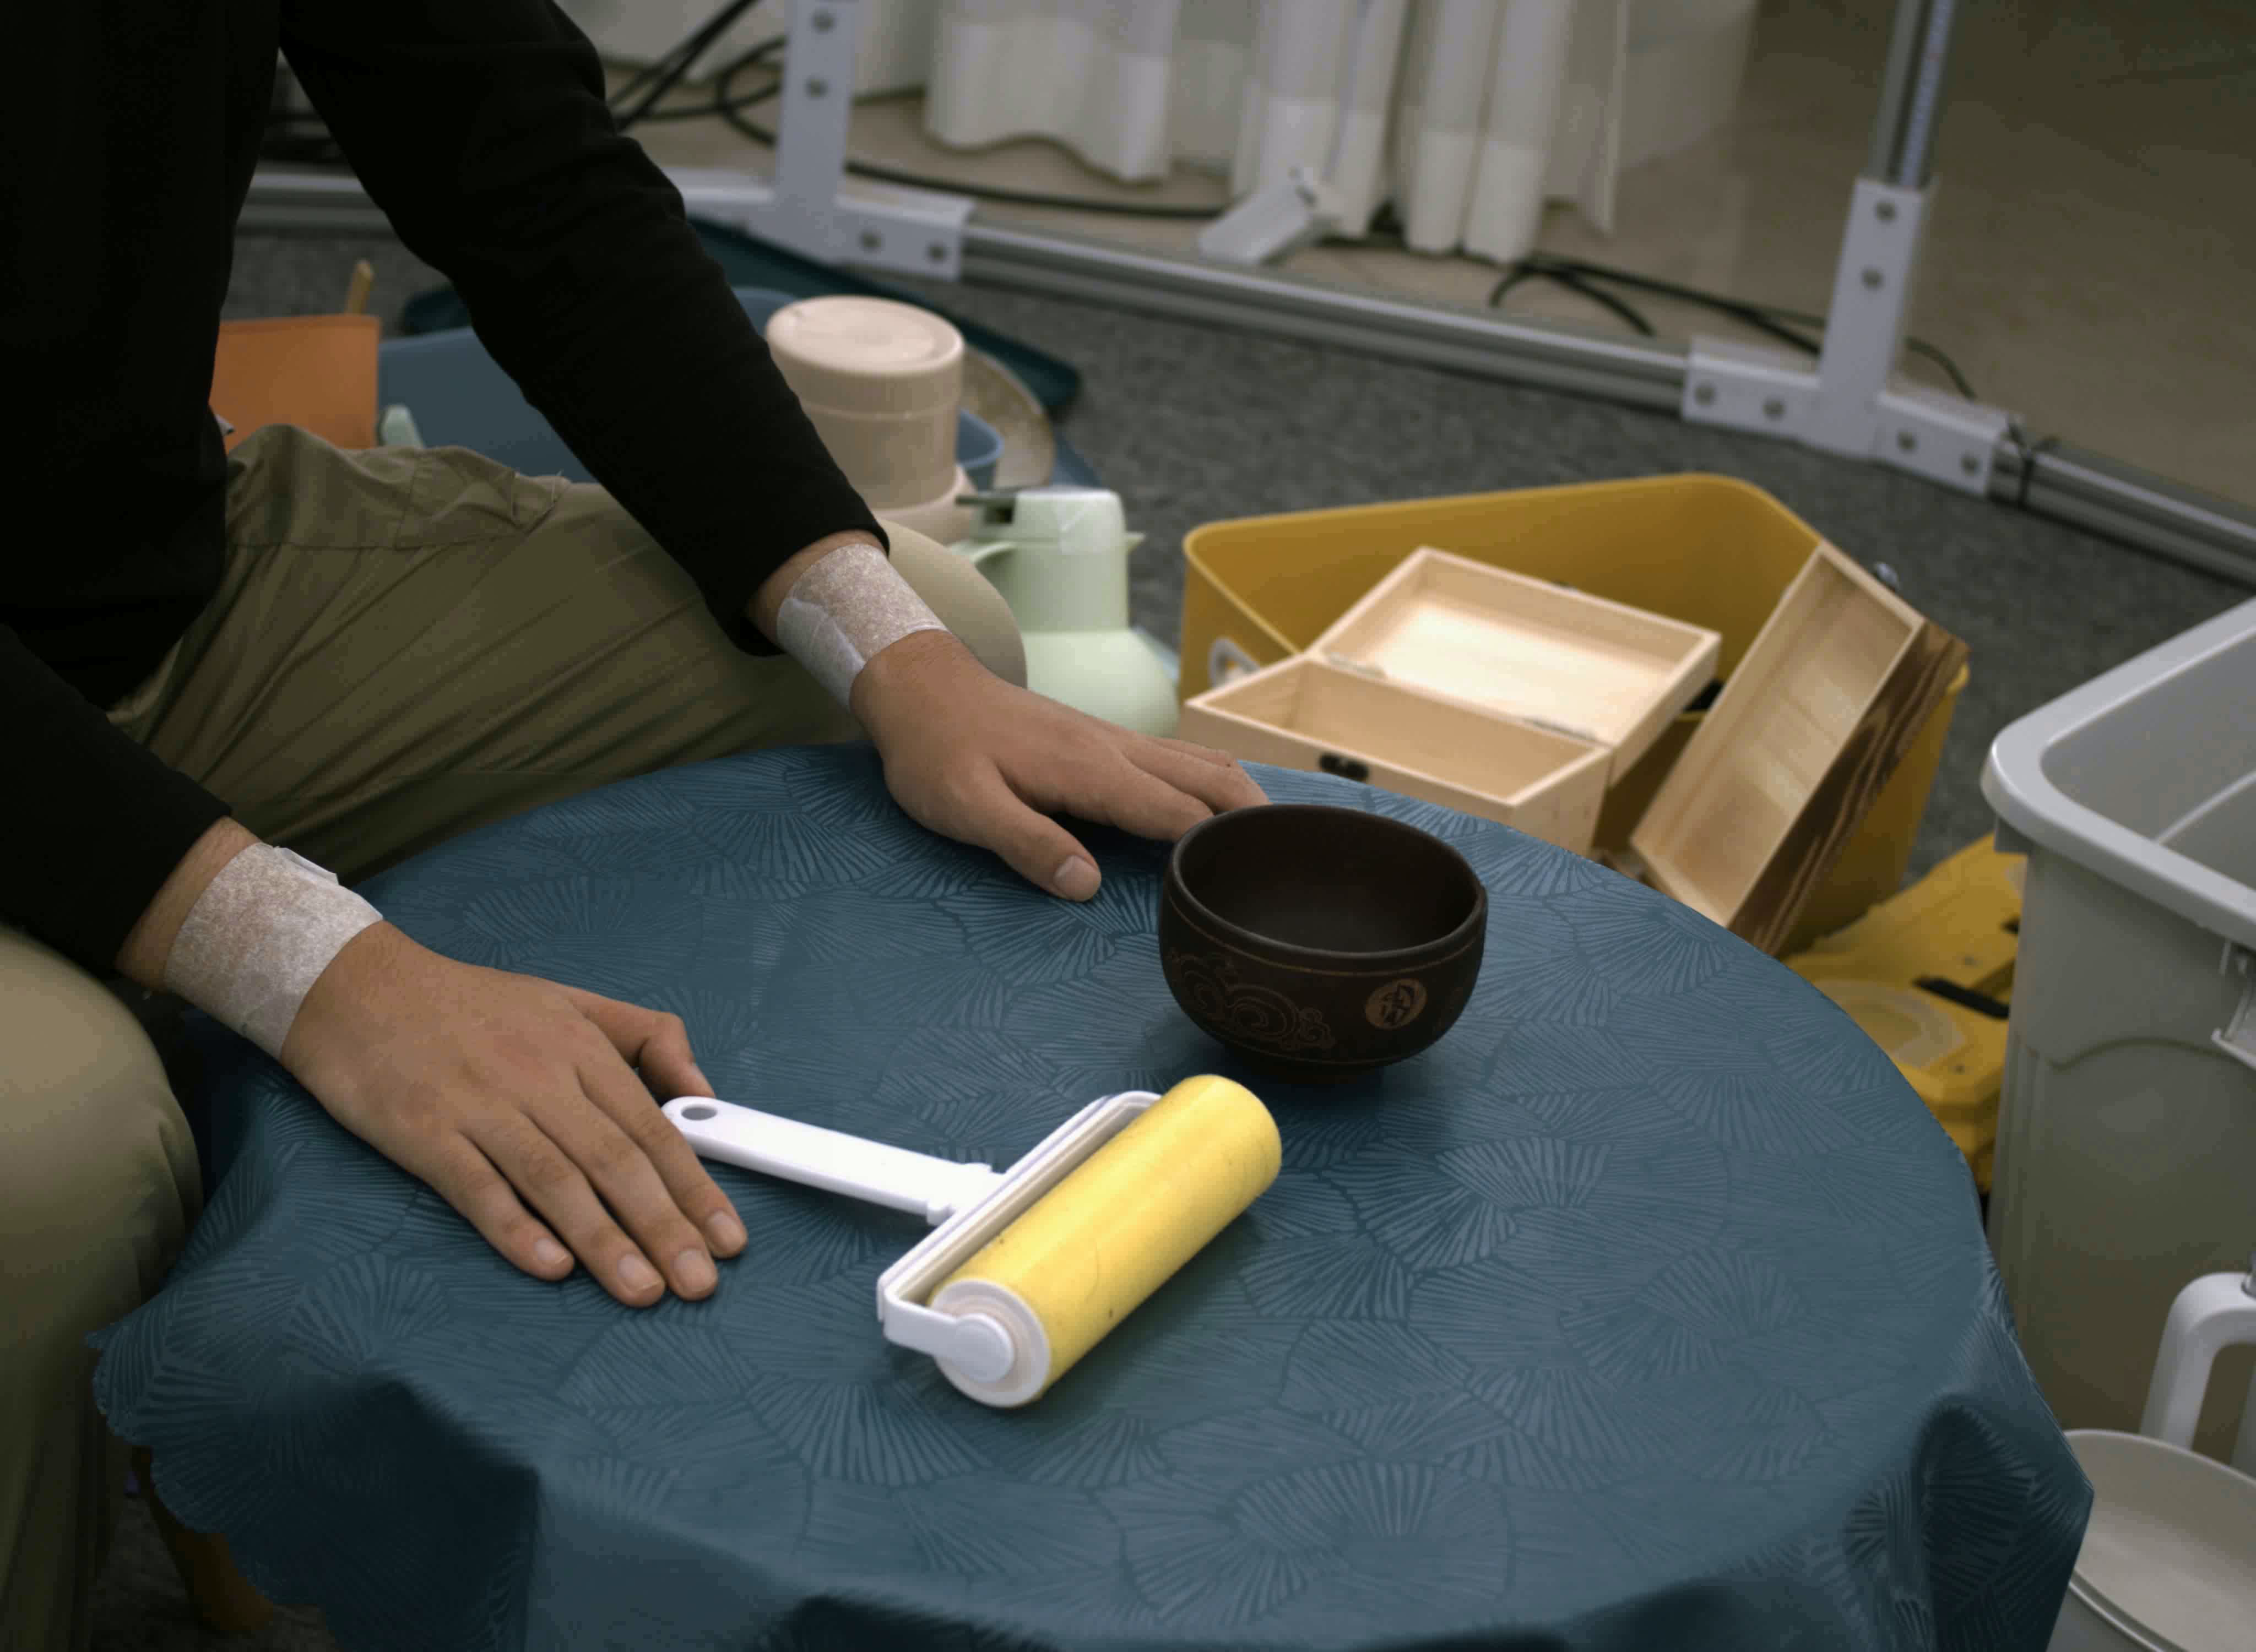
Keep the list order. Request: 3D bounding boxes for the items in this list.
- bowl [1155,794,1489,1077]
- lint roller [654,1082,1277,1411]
[{"bbox_3d":[0.066,0.045,1.888,0.117,0.069,0.119,6,27,-3],"label":"bowl"},{"bbox_3d":[-0.070,0.111,1.754,0.193,0.051,0.174,22,30,19],"label":"lint roller"}]
